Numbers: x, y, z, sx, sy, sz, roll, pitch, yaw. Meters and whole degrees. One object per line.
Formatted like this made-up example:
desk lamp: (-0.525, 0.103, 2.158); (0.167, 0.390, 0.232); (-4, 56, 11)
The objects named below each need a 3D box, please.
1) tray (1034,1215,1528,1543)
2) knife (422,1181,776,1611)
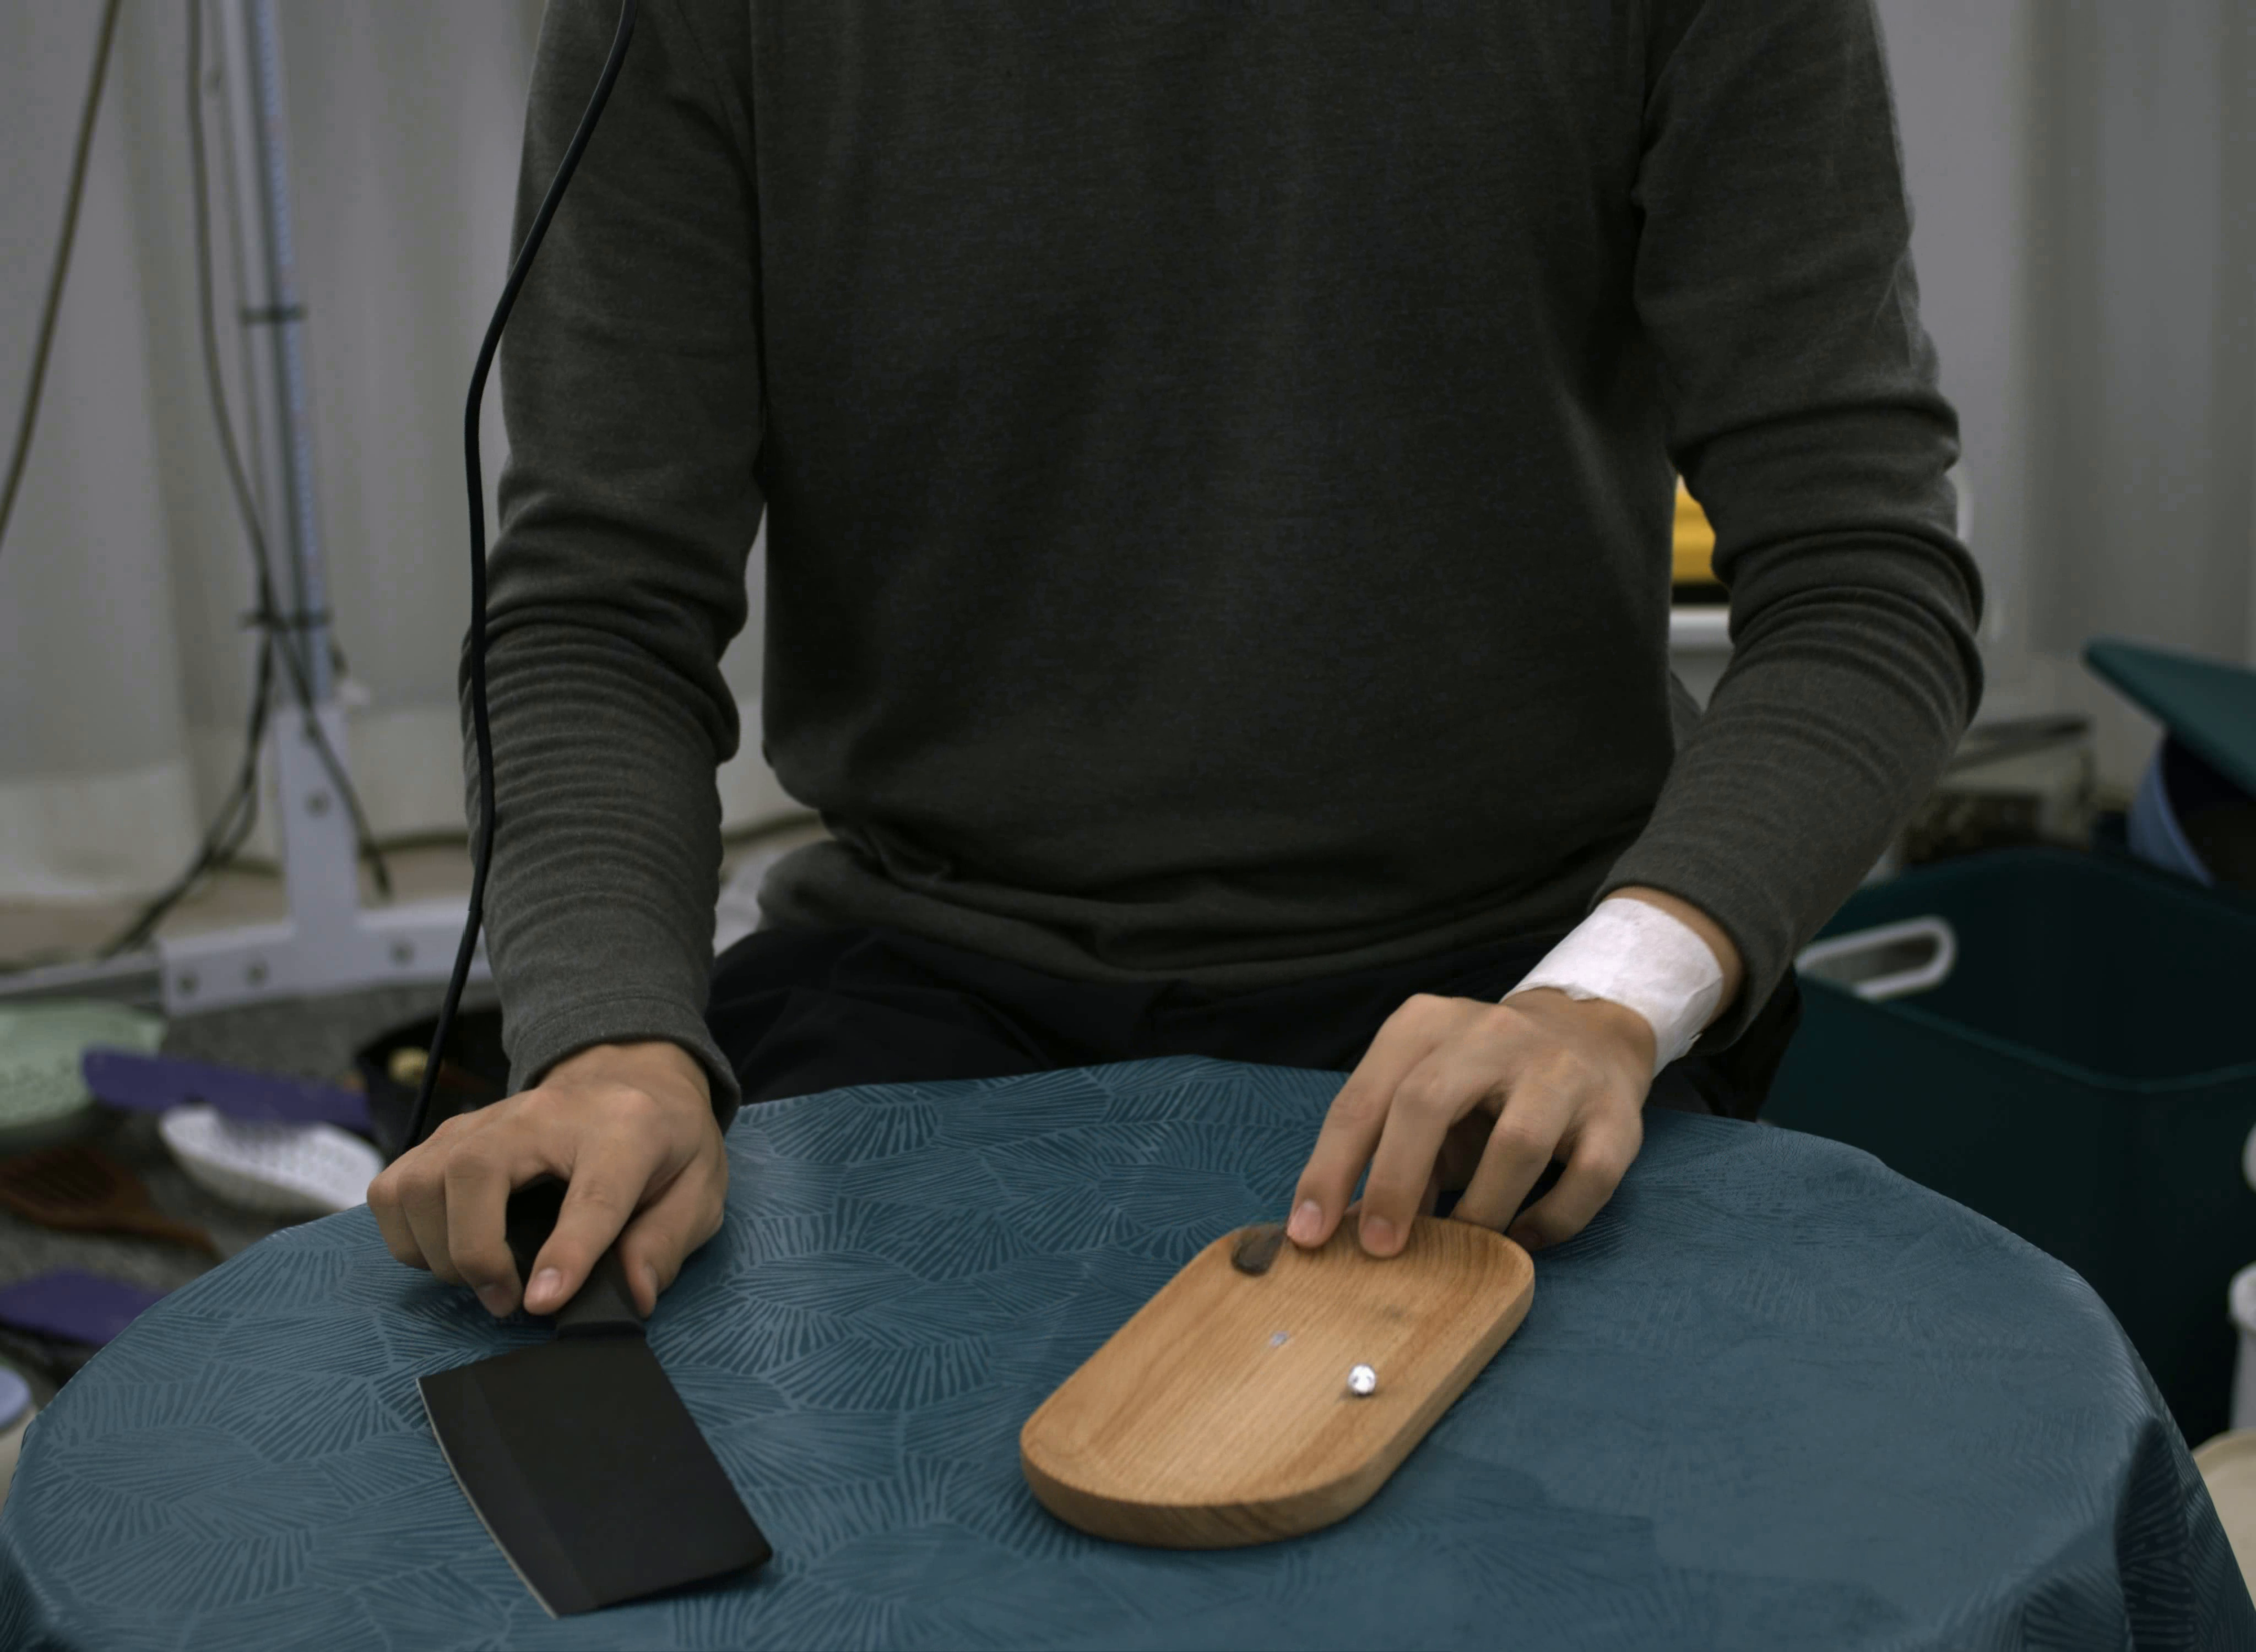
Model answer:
tray: (0.046, 0.152, 1.527); (0.101, 0.020, 0.232); (1, 16, 18)
knife: (-0.161, 0.158, 1.551); (0.080, 0.021, 0.305); (-12, 18, -10)
